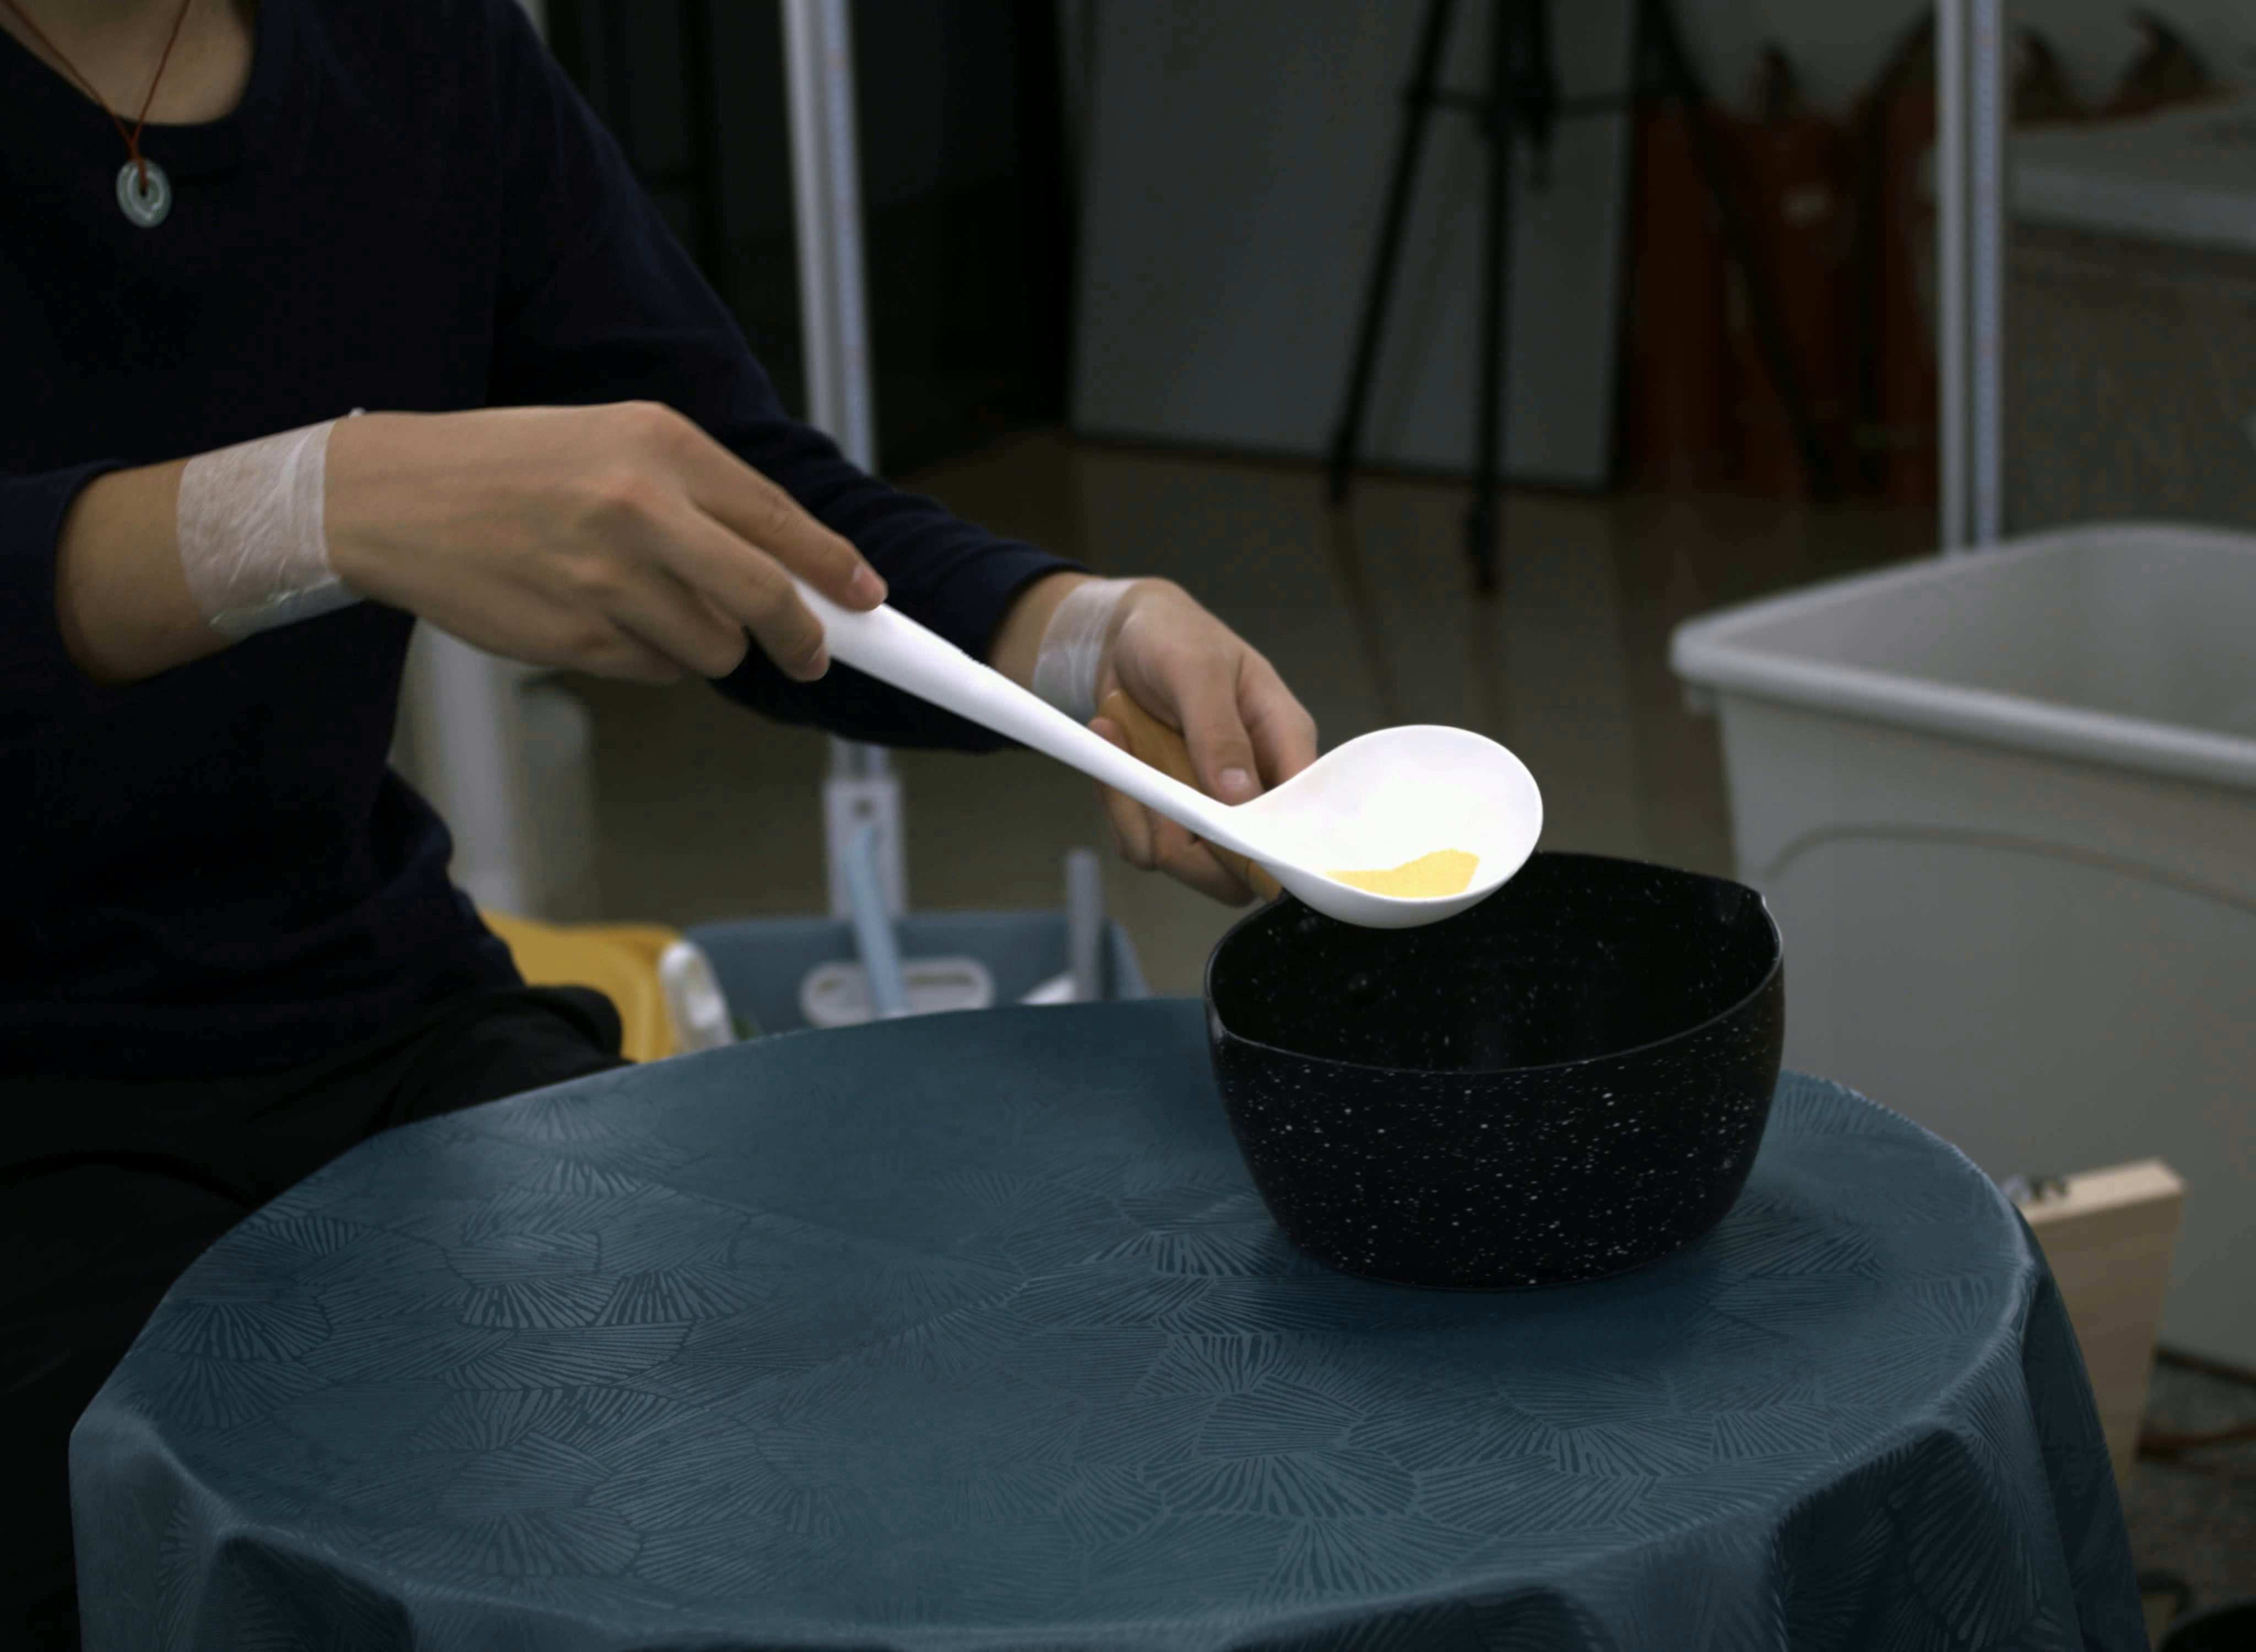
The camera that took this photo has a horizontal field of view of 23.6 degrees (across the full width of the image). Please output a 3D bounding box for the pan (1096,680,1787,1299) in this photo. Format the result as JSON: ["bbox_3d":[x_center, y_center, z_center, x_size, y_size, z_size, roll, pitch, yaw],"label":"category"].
[{"bbox_3d":[0.078,0.047,1.766,0.203,0.109,0.346,-16,23,-25],"label":"pan"}]

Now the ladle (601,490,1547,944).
[{"bbox_3d":[-0.013,-0.039,1.611,0.288,0.070,0.091,25,40,-19],"label":"ladle"}]
